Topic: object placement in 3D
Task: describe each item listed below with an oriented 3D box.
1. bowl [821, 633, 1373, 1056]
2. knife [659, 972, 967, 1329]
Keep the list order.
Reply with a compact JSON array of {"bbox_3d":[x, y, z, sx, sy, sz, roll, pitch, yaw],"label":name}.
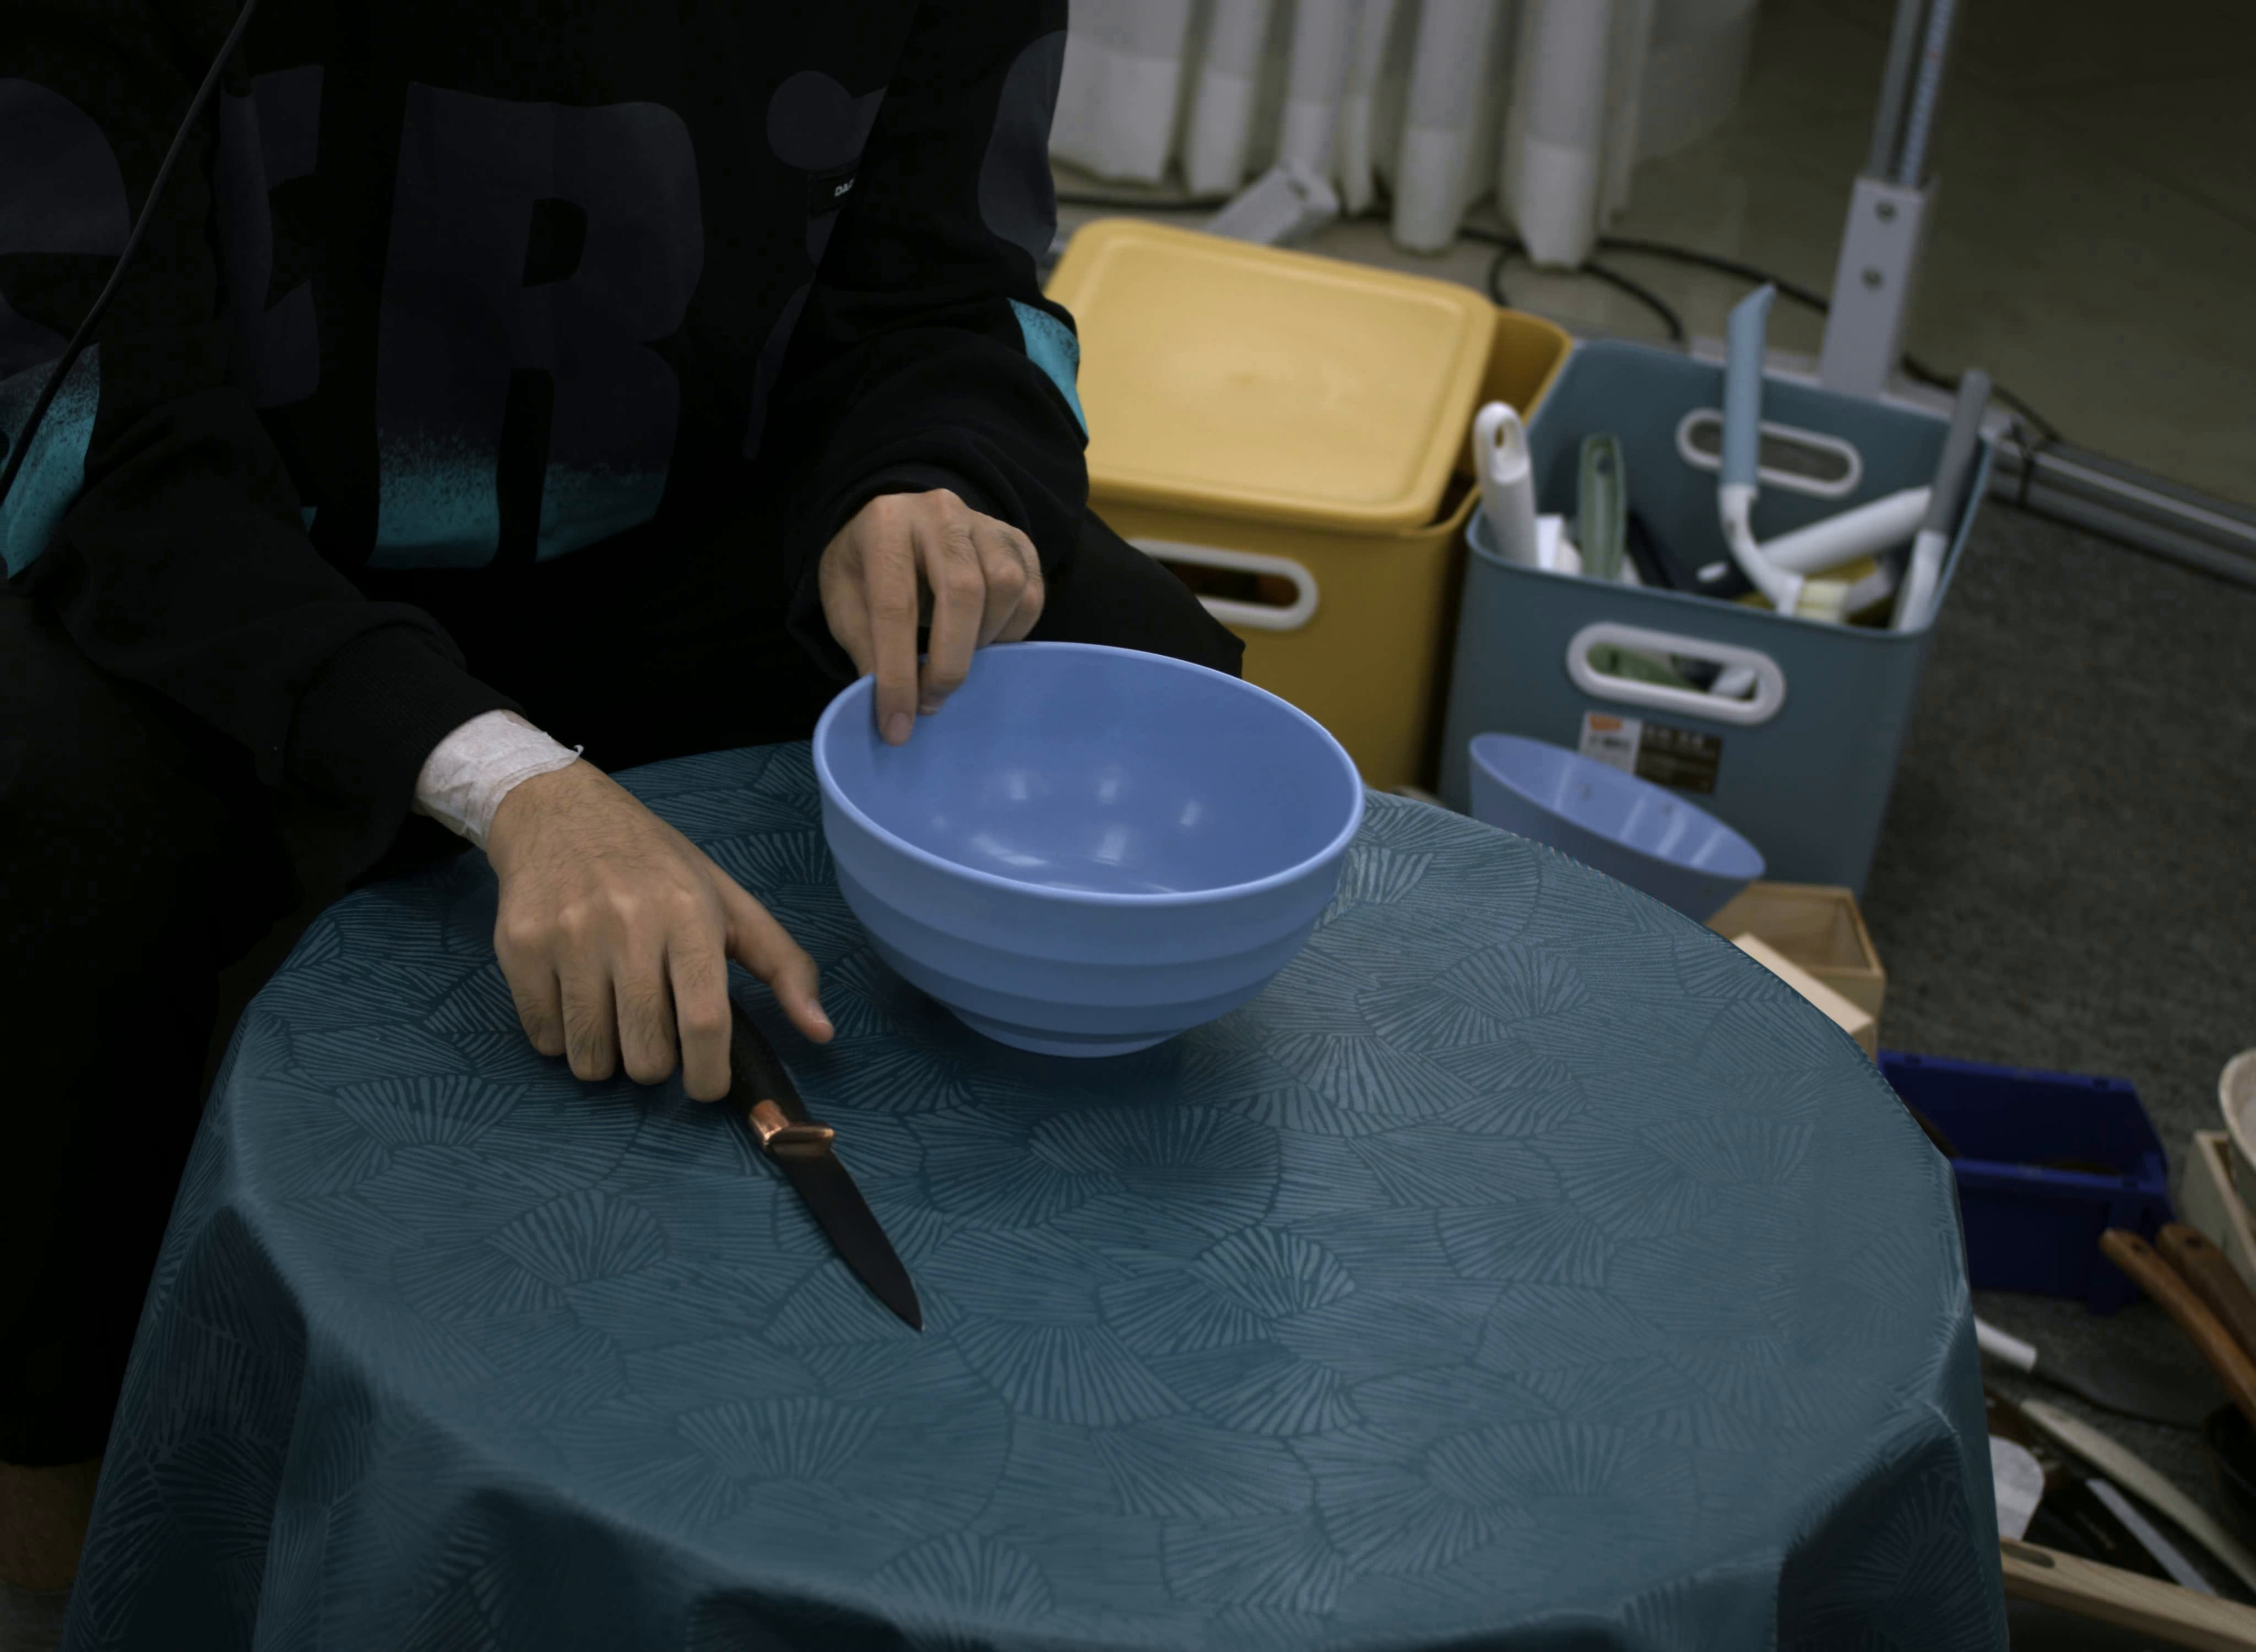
[{"bbox_3d":[-0.017,0.018,1.896,0.196,0.095,0.198,7,29,-4],"label":"bowl"},{"bbox_3d":[-0.109,0.108,1.796,0.026,0.017,0.227,-2,29,-29],"label":"knife"}]
